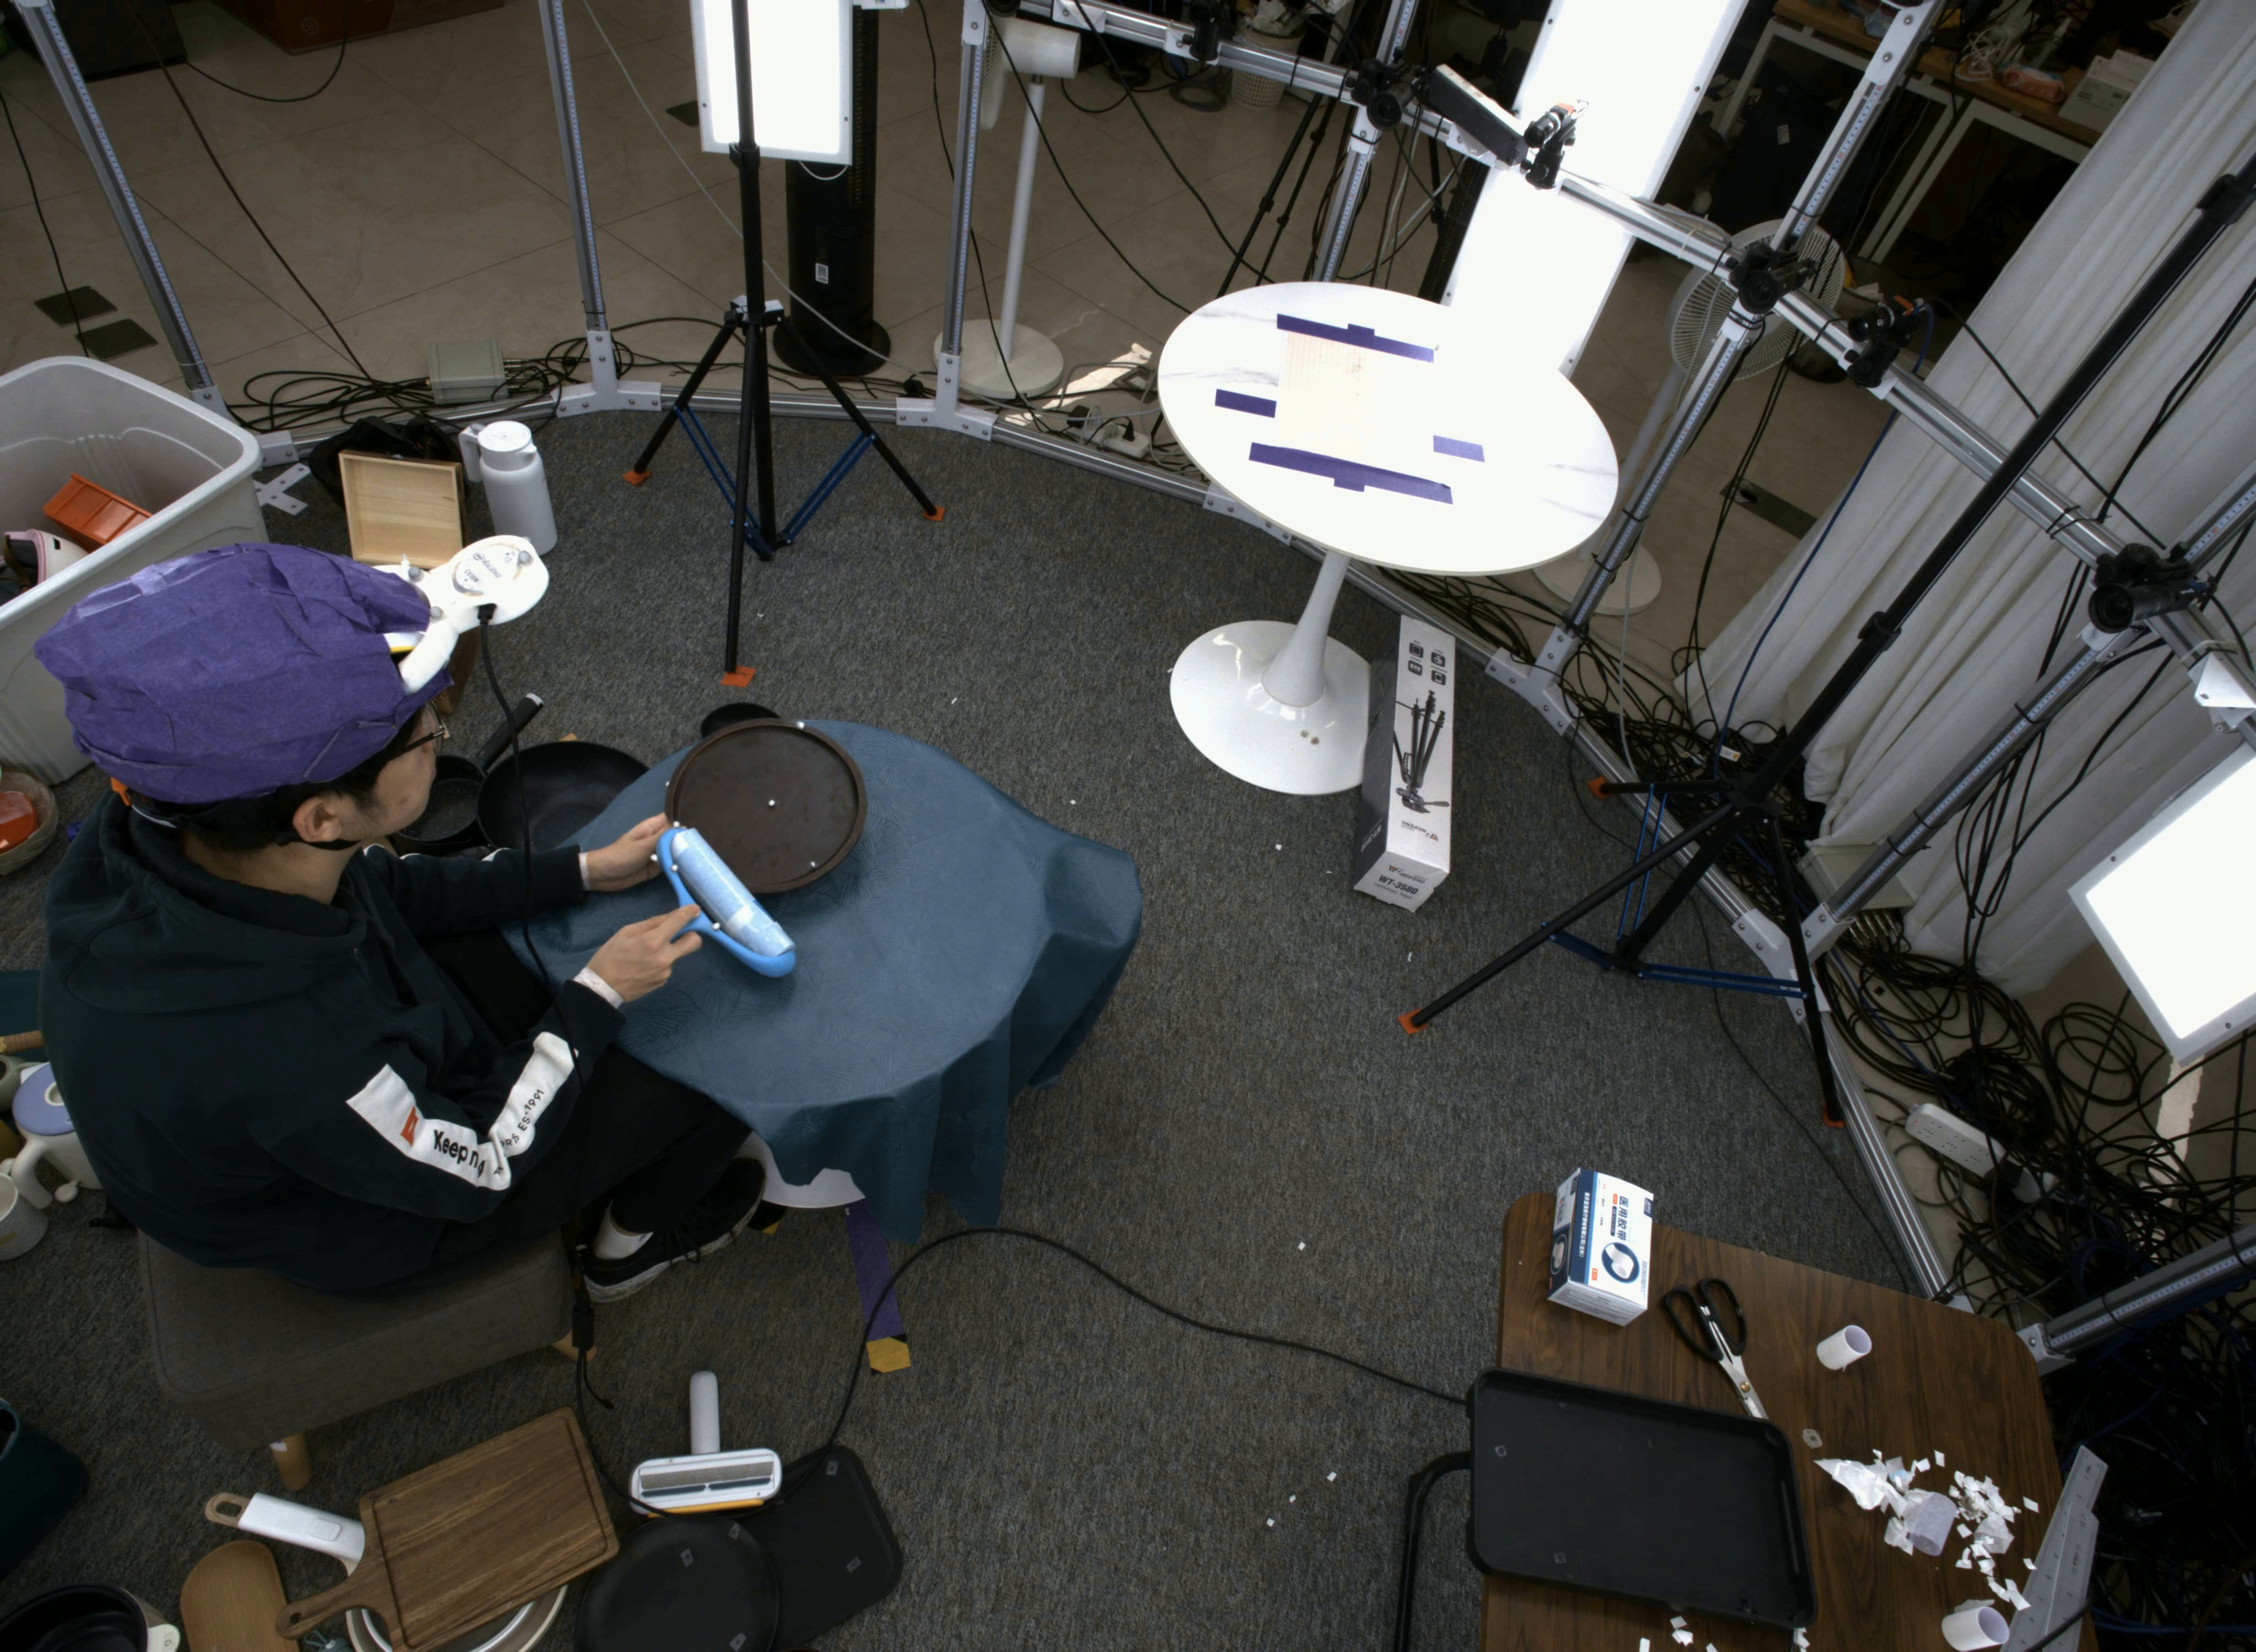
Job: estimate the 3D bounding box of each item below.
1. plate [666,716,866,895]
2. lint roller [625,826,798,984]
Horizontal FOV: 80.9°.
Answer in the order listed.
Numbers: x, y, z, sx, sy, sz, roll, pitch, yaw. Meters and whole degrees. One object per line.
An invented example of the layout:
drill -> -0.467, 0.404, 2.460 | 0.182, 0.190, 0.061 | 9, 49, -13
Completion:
plate -> -0.463, -0.027, 1.659 | 0.254, 0.029, 0.252 | 6, 63, -9
lint roller -> -0.519, 0.119, 1.530 | 0.229, 0.068, 0.180 | 46, 53, 0
